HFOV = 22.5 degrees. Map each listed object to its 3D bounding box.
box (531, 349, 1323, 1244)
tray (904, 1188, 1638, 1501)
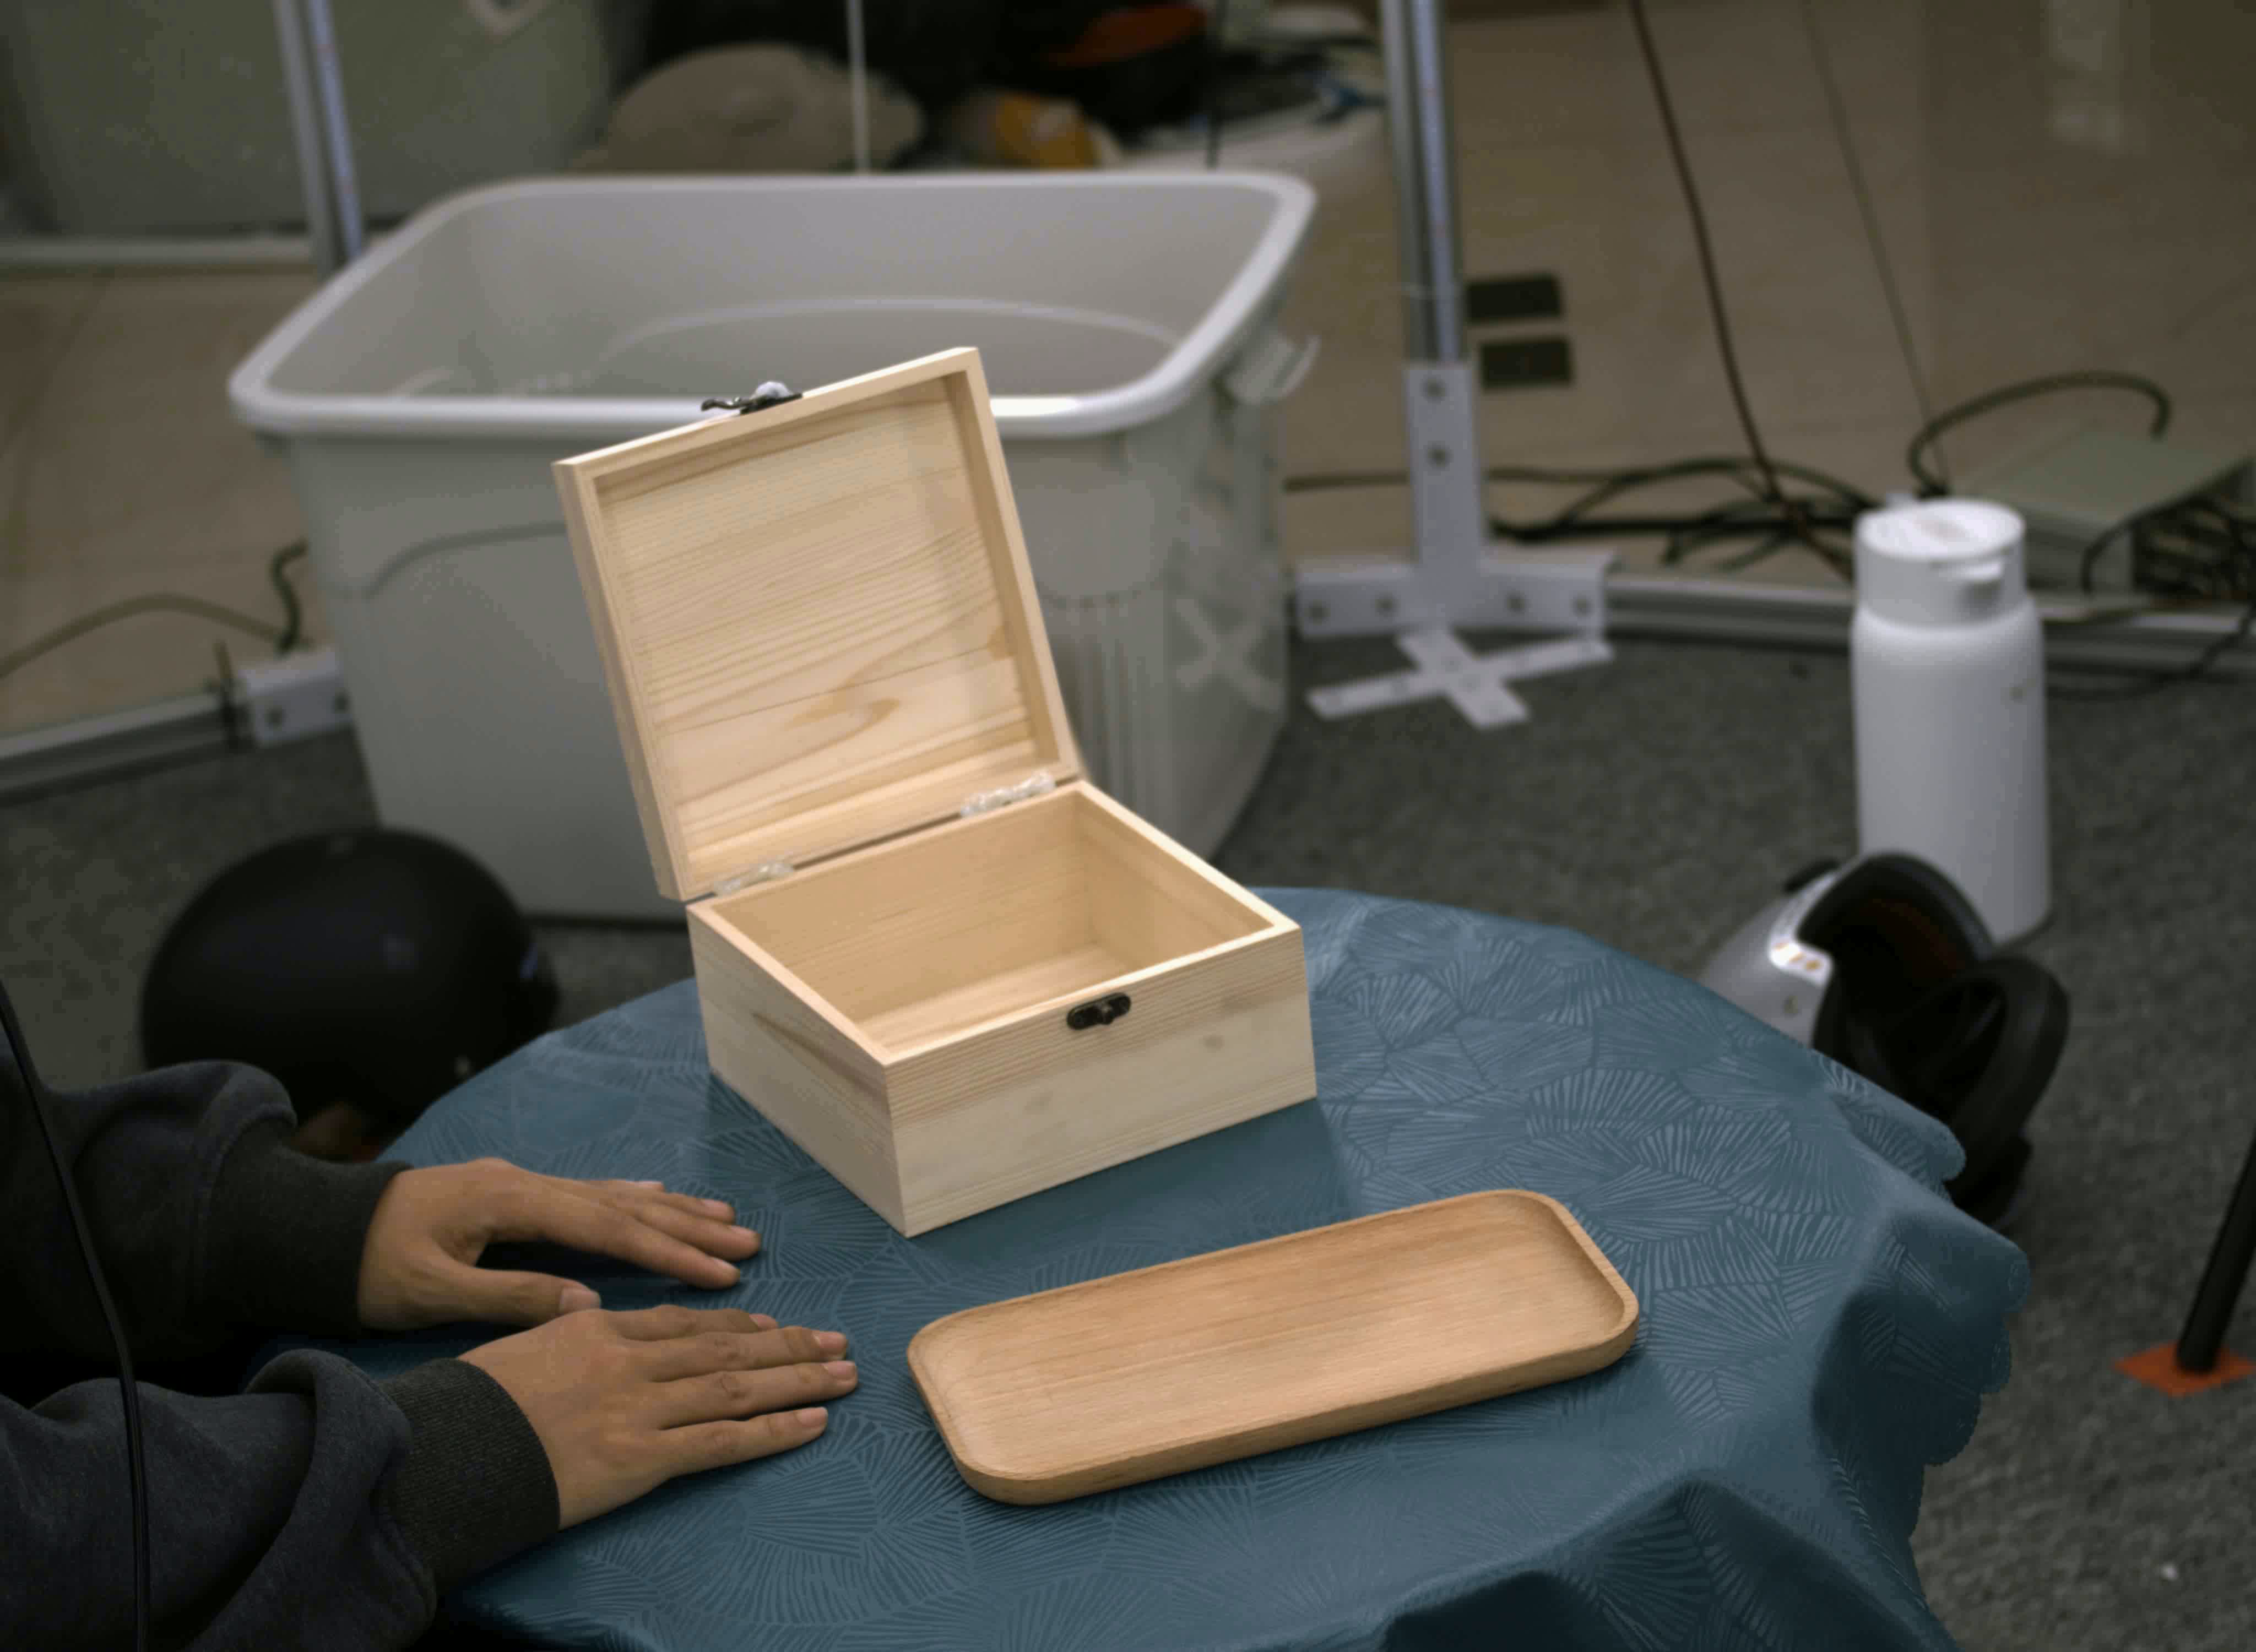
[{"bbox_3d":[-0.079,-0.019,2.212,0.181,0.257,0.262,-21,28,-22],"label":"box"},{"bbox_3d":[0.050,0.184,2.017,0.250,0.023,0.129,-12,22,-11],"label":"tray"}]
